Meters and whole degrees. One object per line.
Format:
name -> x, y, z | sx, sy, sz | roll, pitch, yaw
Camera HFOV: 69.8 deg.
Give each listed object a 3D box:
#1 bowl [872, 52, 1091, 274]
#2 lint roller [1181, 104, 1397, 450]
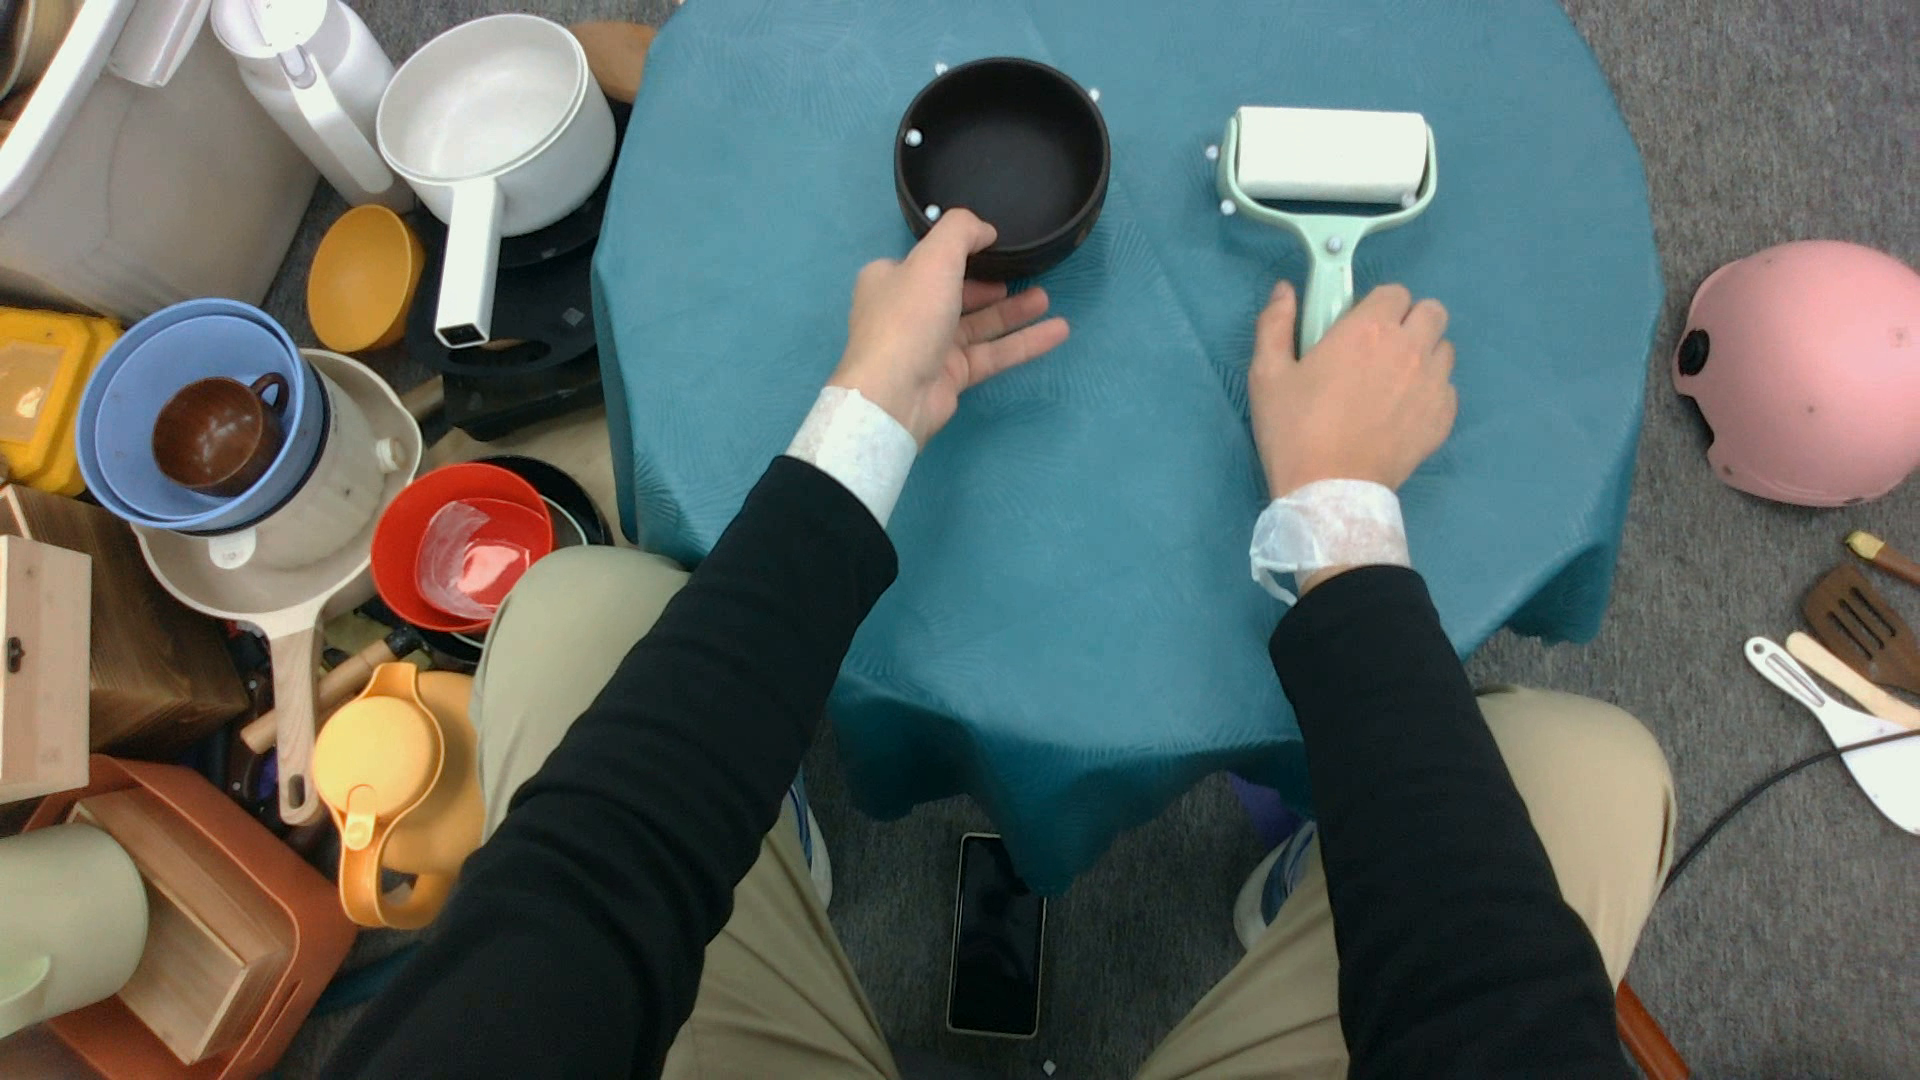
bowl -> 0.011, -0.201, 0.760 | 0.118, 0.069, 0.118 | 0, 76, -1
lint roller -> 0.181, -0.149, 0.761 | 0.116, 0.048, 0.198 | 3, 77, -1
